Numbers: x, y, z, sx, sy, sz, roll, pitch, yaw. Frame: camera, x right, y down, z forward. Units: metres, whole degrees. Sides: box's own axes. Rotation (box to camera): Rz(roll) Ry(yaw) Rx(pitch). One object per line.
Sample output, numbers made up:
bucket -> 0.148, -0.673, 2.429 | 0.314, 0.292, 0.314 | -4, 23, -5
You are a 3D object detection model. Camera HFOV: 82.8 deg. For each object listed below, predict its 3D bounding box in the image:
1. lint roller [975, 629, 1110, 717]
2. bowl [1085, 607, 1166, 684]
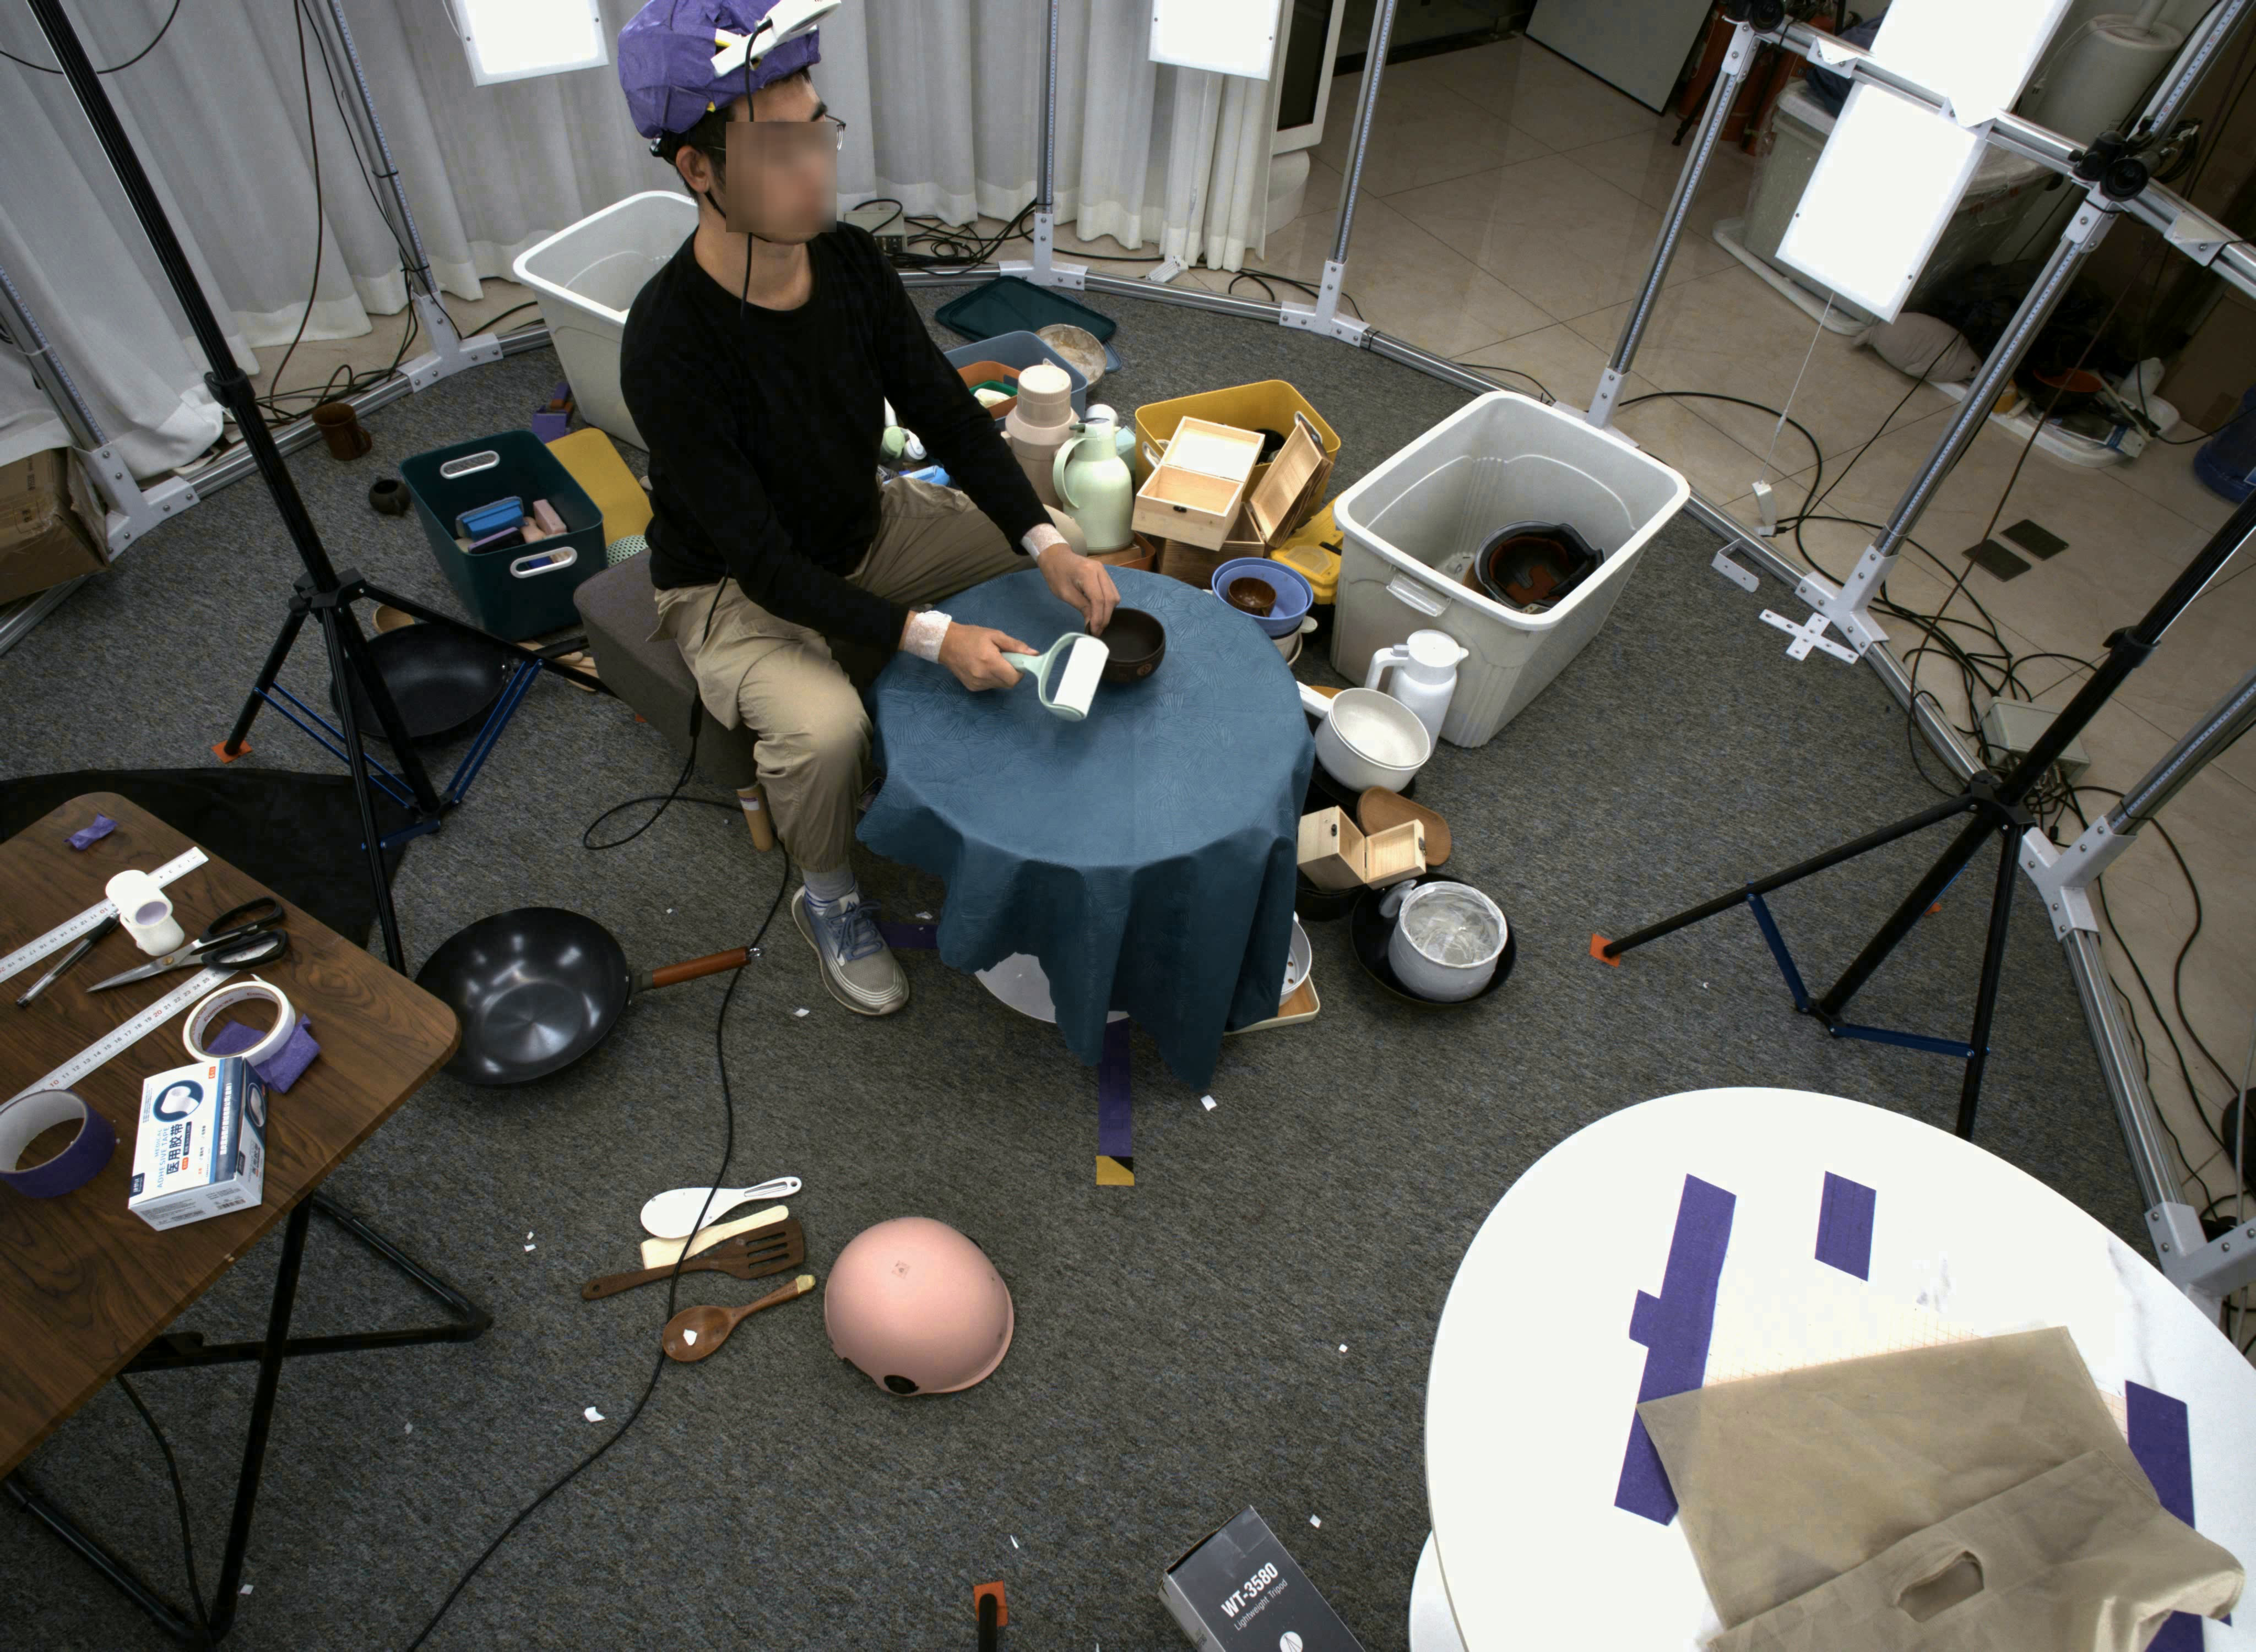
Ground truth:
lint roller -> -0.127, -0.223, 1.772 | 0.199, 0.047, 0.118 | 13, 74, 21
bowl -> -0.005, -0.251, 1.840 | 0.118, 0.068, 0.121 | 1, 49, -2
